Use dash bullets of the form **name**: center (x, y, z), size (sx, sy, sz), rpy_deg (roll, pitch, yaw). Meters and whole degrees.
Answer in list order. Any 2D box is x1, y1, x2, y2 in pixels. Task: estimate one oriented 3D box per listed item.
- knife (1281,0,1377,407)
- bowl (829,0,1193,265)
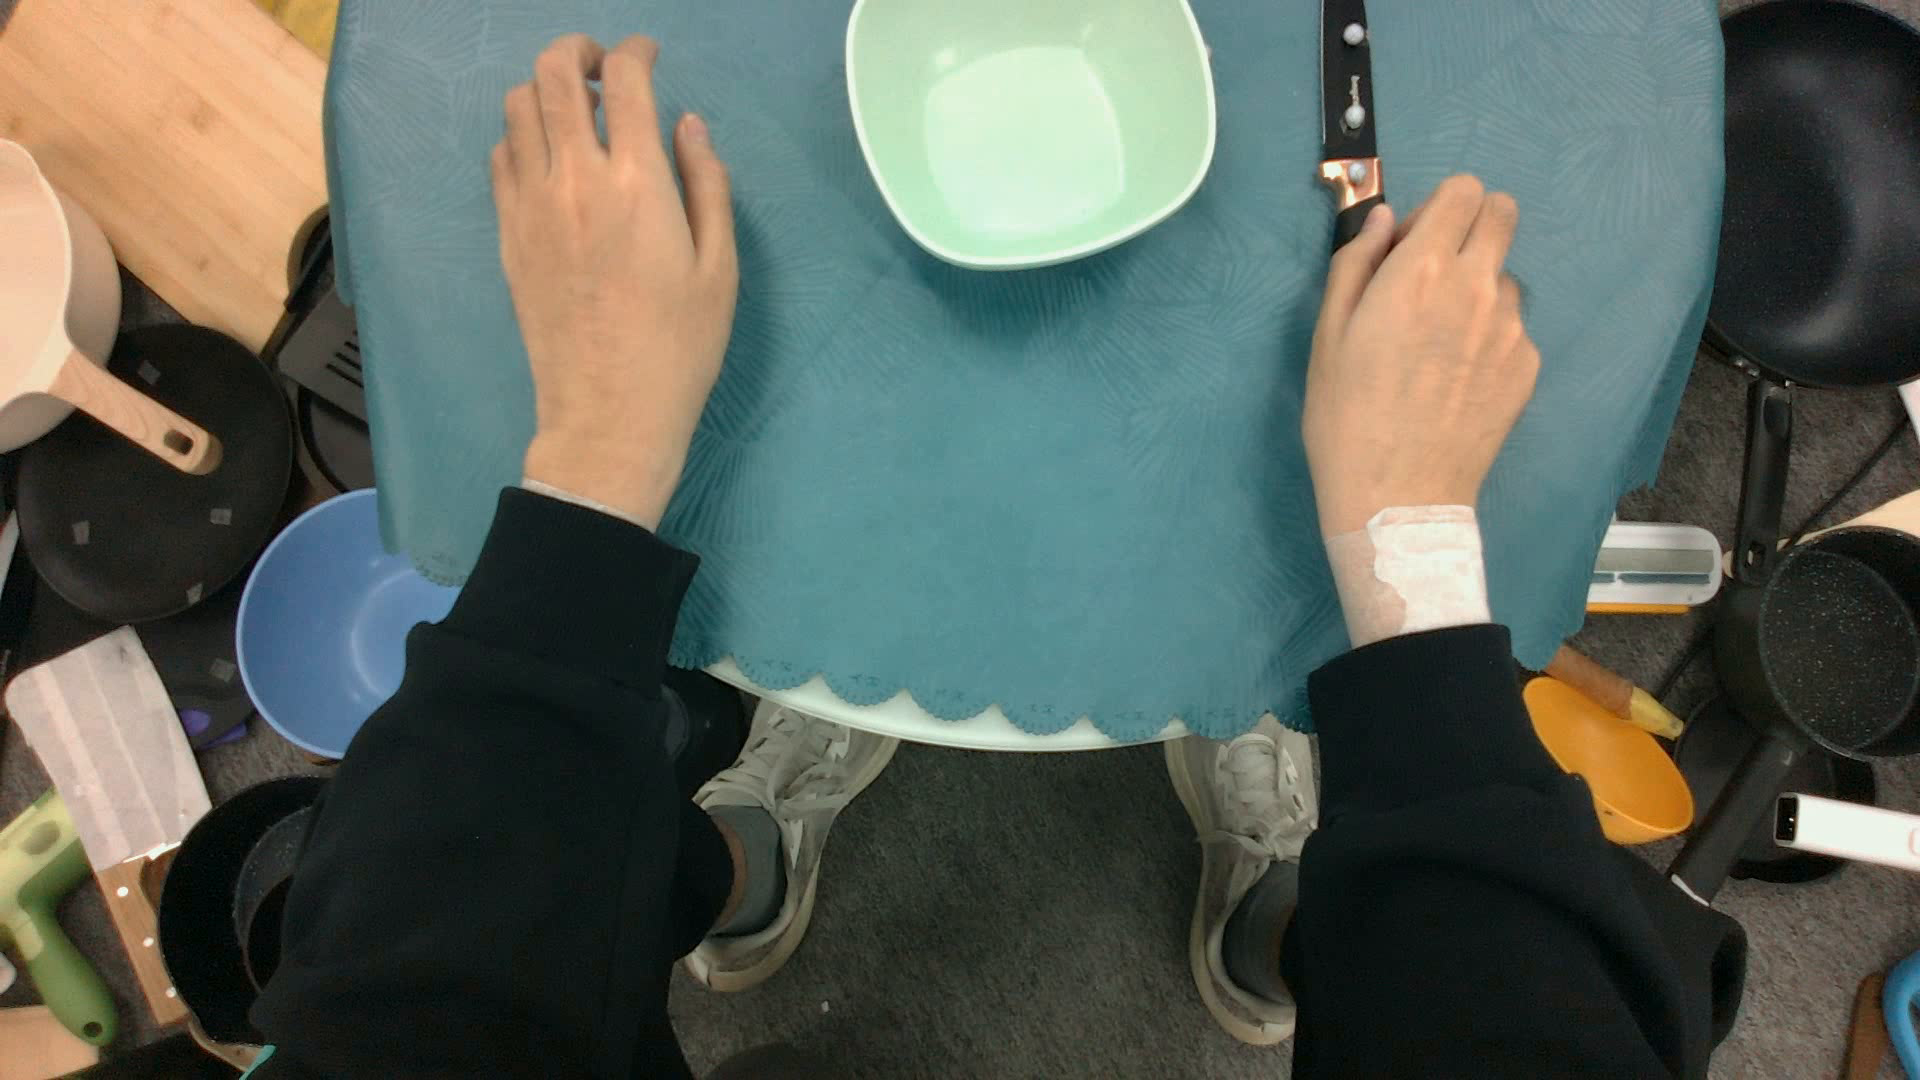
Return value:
- **knife**: center (0.156, -0.165, 0.588), size (0.026, 0.017, 0.226), rpy_deg (-5, 79, 7)
- **bowl**: center (0.019, -0.172, 0.565), size (0.151, 0.058, 0.151), rpy_deg (0, 80, -2)
